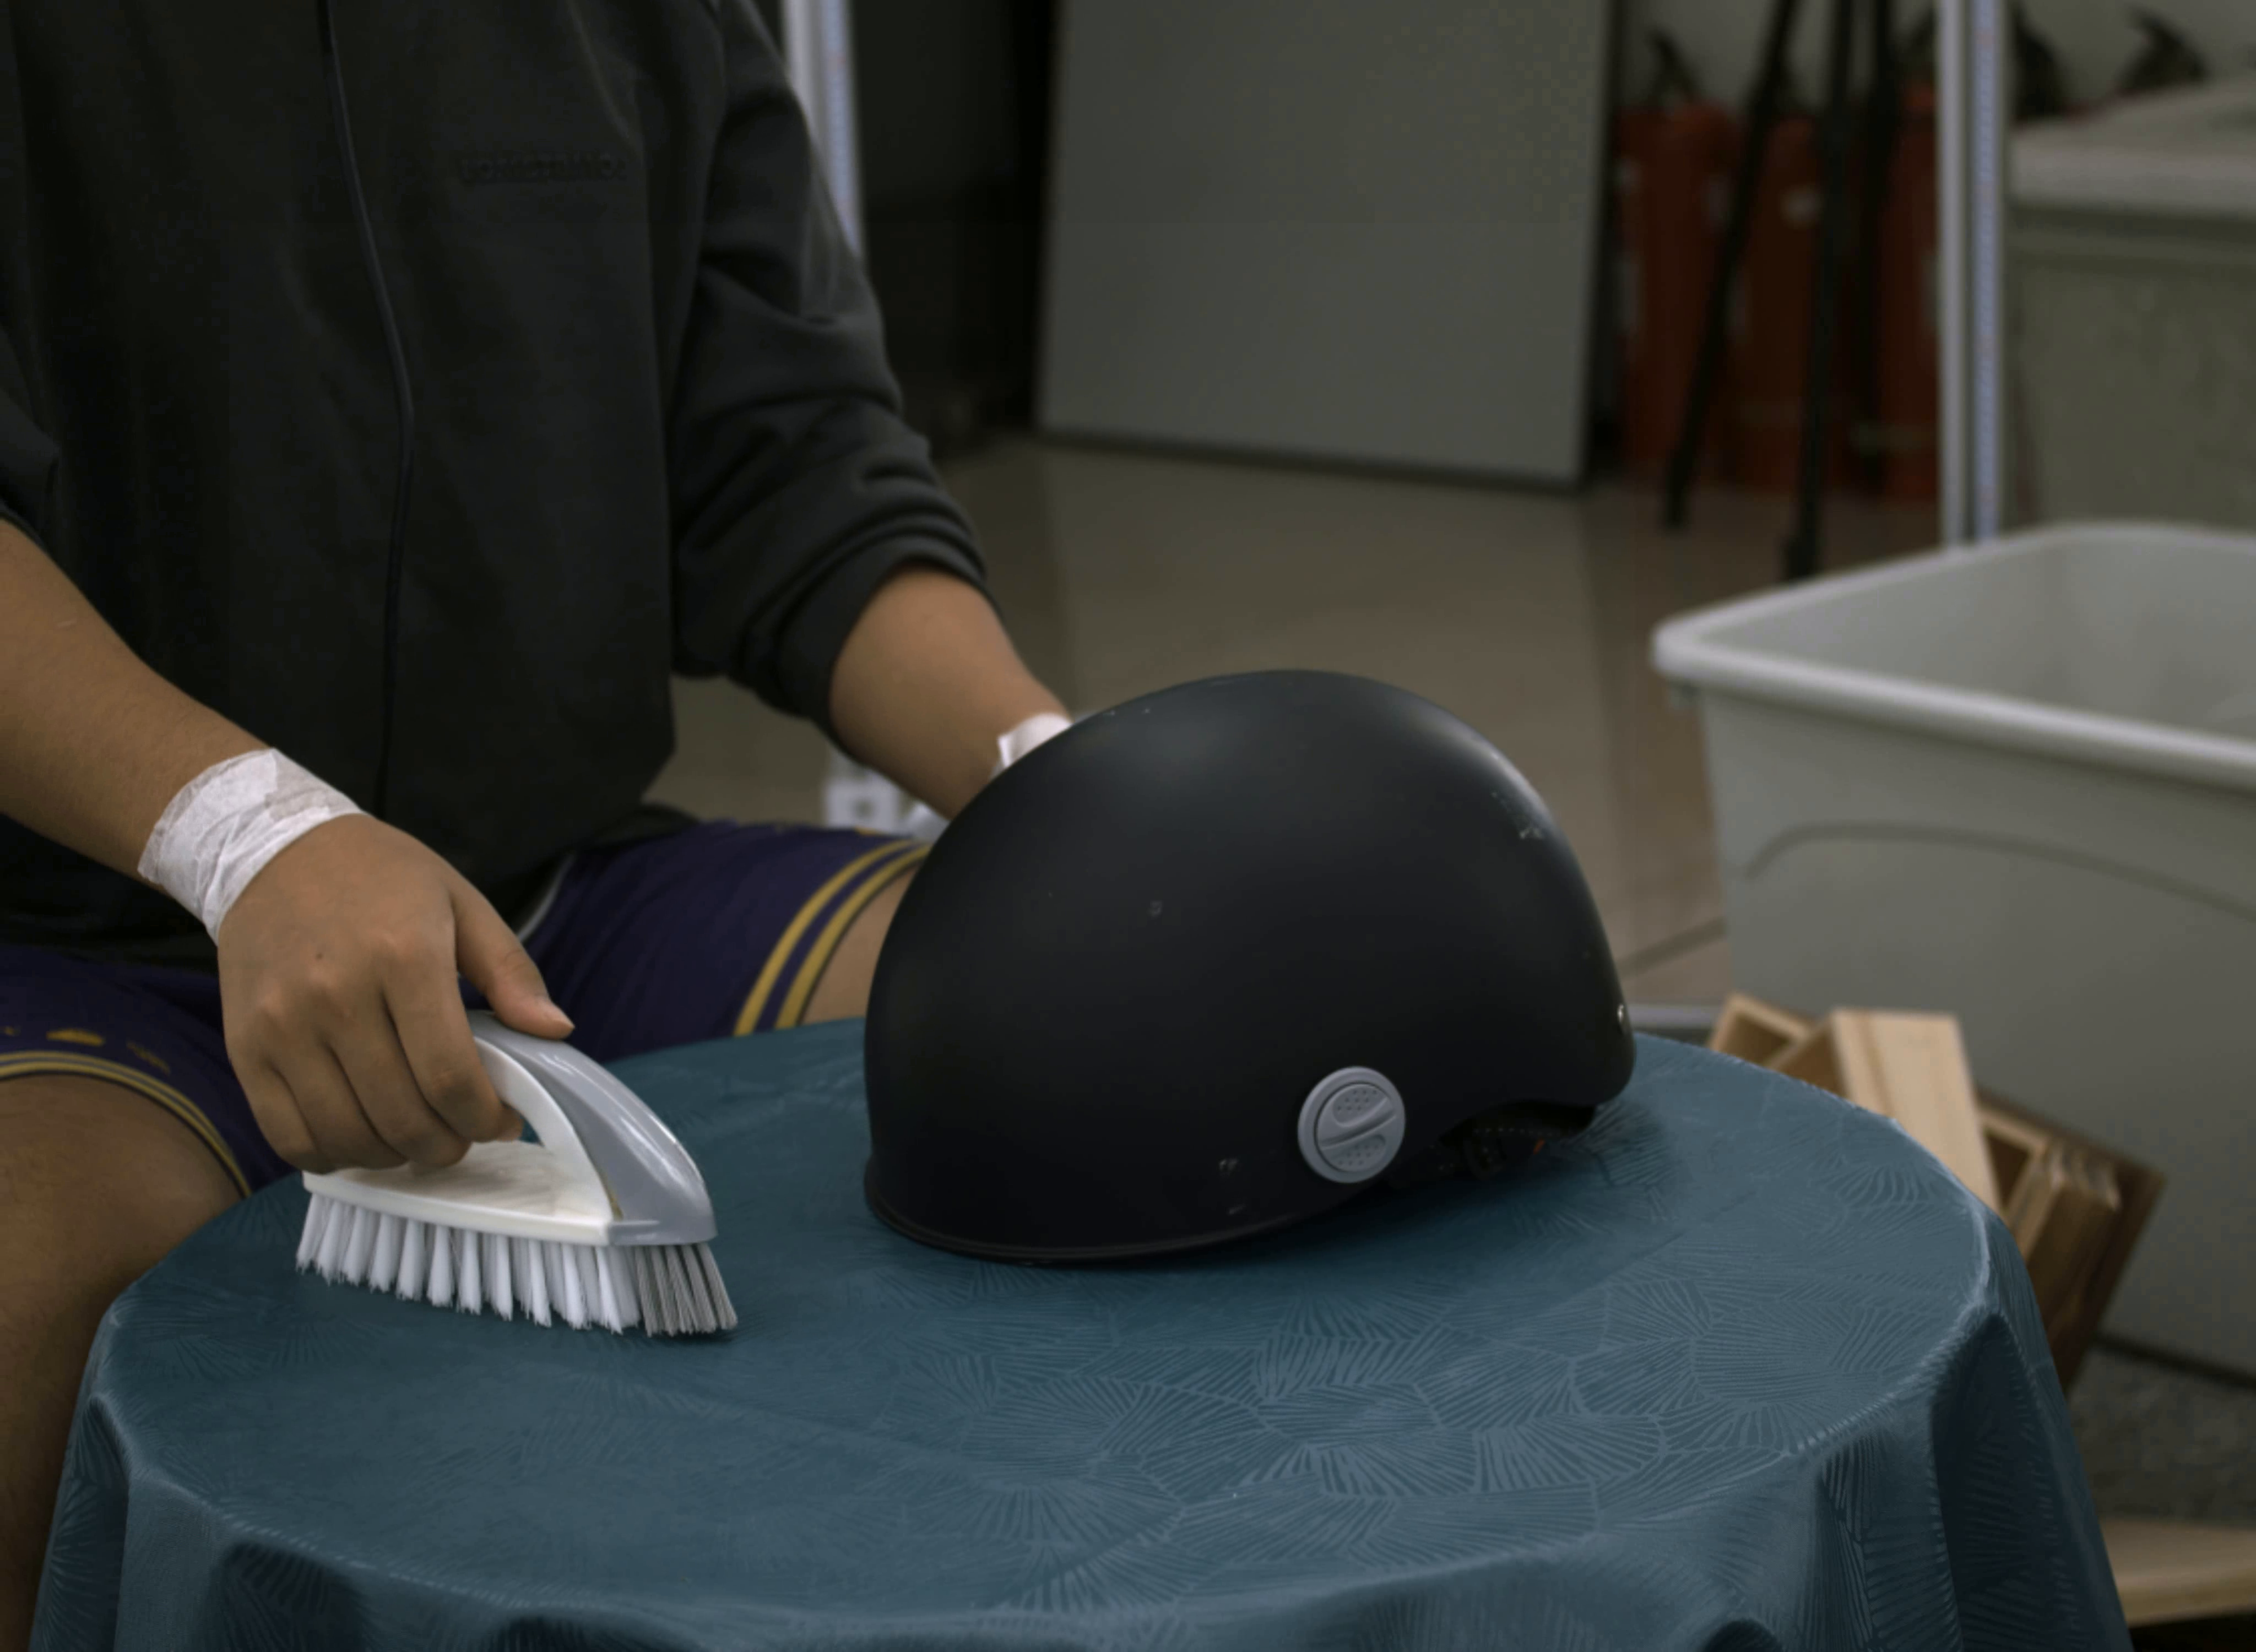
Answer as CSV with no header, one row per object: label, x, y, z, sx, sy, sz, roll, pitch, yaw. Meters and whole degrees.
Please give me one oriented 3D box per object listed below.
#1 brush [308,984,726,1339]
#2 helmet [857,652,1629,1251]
brush,-0.188,0.102,1.702,0.177,0.095,0.060,13,20,42
helmet,0.033,0.032,1.786,0.267,0.168,0.232,-15,16,-31
